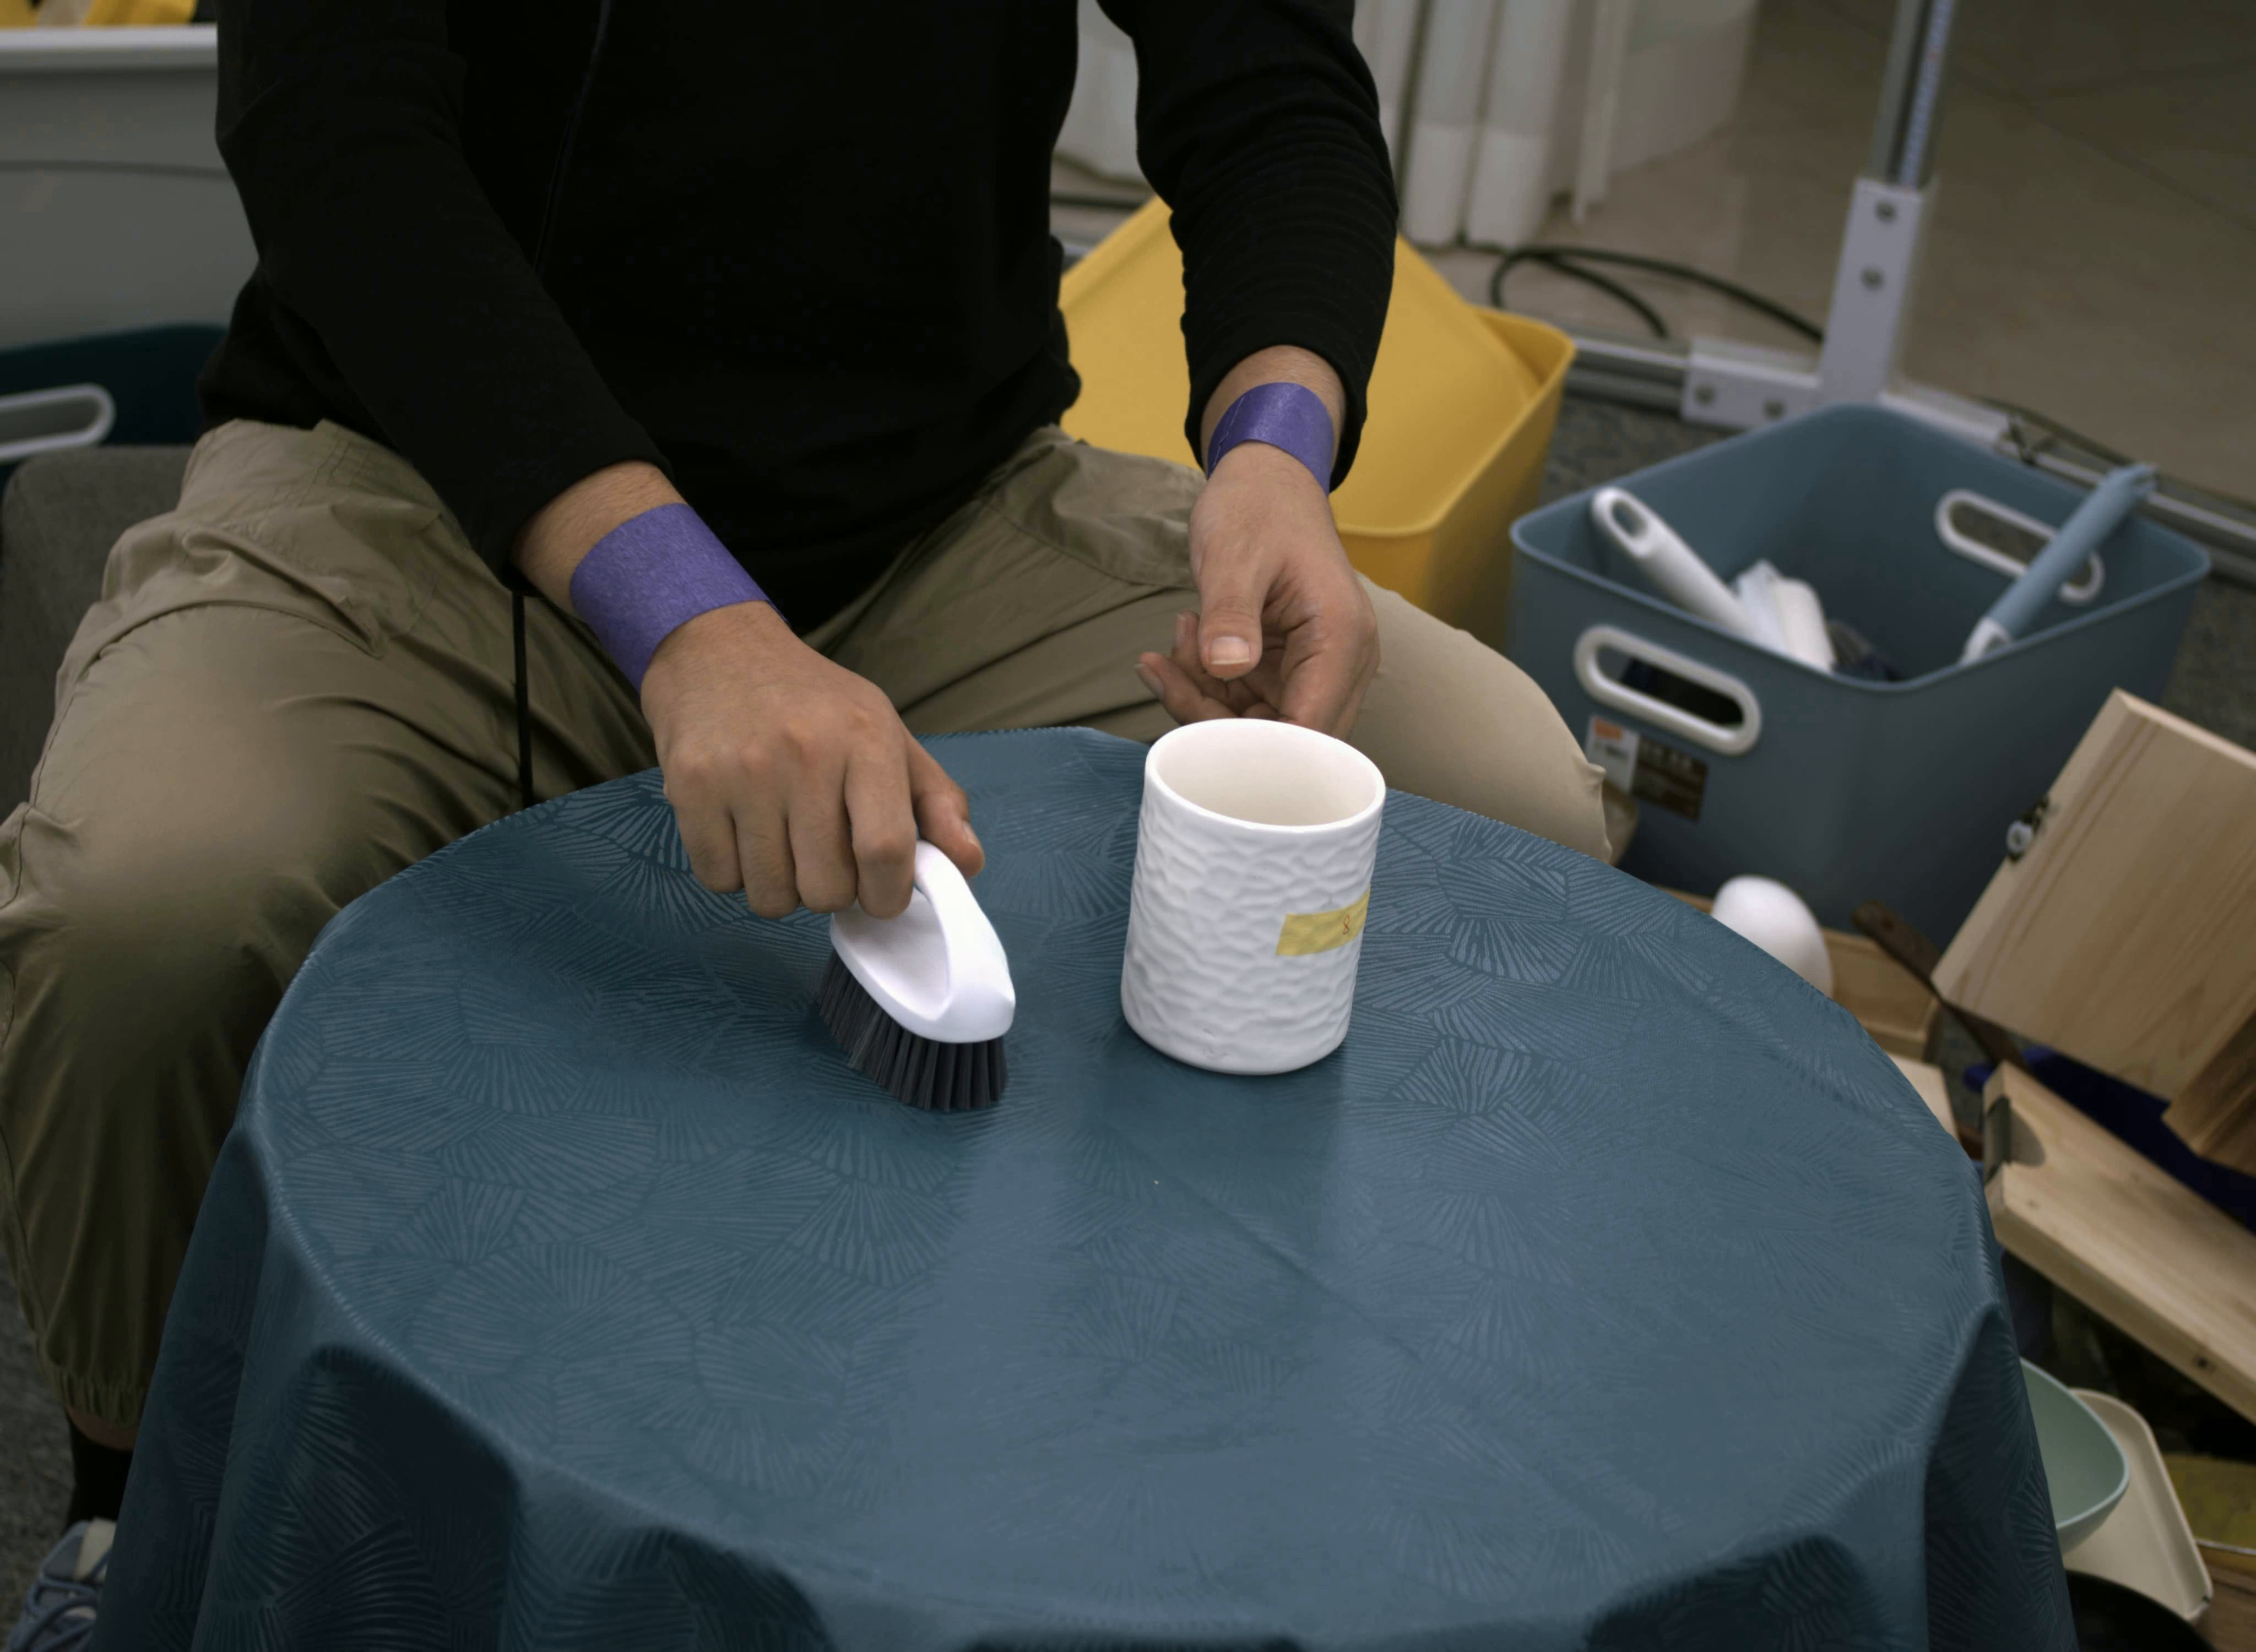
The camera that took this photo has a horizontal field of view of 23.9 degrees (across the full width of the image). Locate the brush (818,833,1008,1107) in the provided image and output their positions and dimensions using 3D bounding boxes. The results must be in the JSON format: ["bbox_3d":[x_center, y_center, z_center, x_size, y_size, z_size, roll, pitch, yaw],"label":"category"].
[{"bbox_3d":[-0.073,0.044,1.860,0.050,0.072,0.100,-4,29,-24],"label":"brush"}]

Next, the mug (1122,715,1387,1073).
[{"bbox_3d":[0.037,0.018,1.904,0.084,0.101,0.119,-6,28,-24],"label":"mug"}]
